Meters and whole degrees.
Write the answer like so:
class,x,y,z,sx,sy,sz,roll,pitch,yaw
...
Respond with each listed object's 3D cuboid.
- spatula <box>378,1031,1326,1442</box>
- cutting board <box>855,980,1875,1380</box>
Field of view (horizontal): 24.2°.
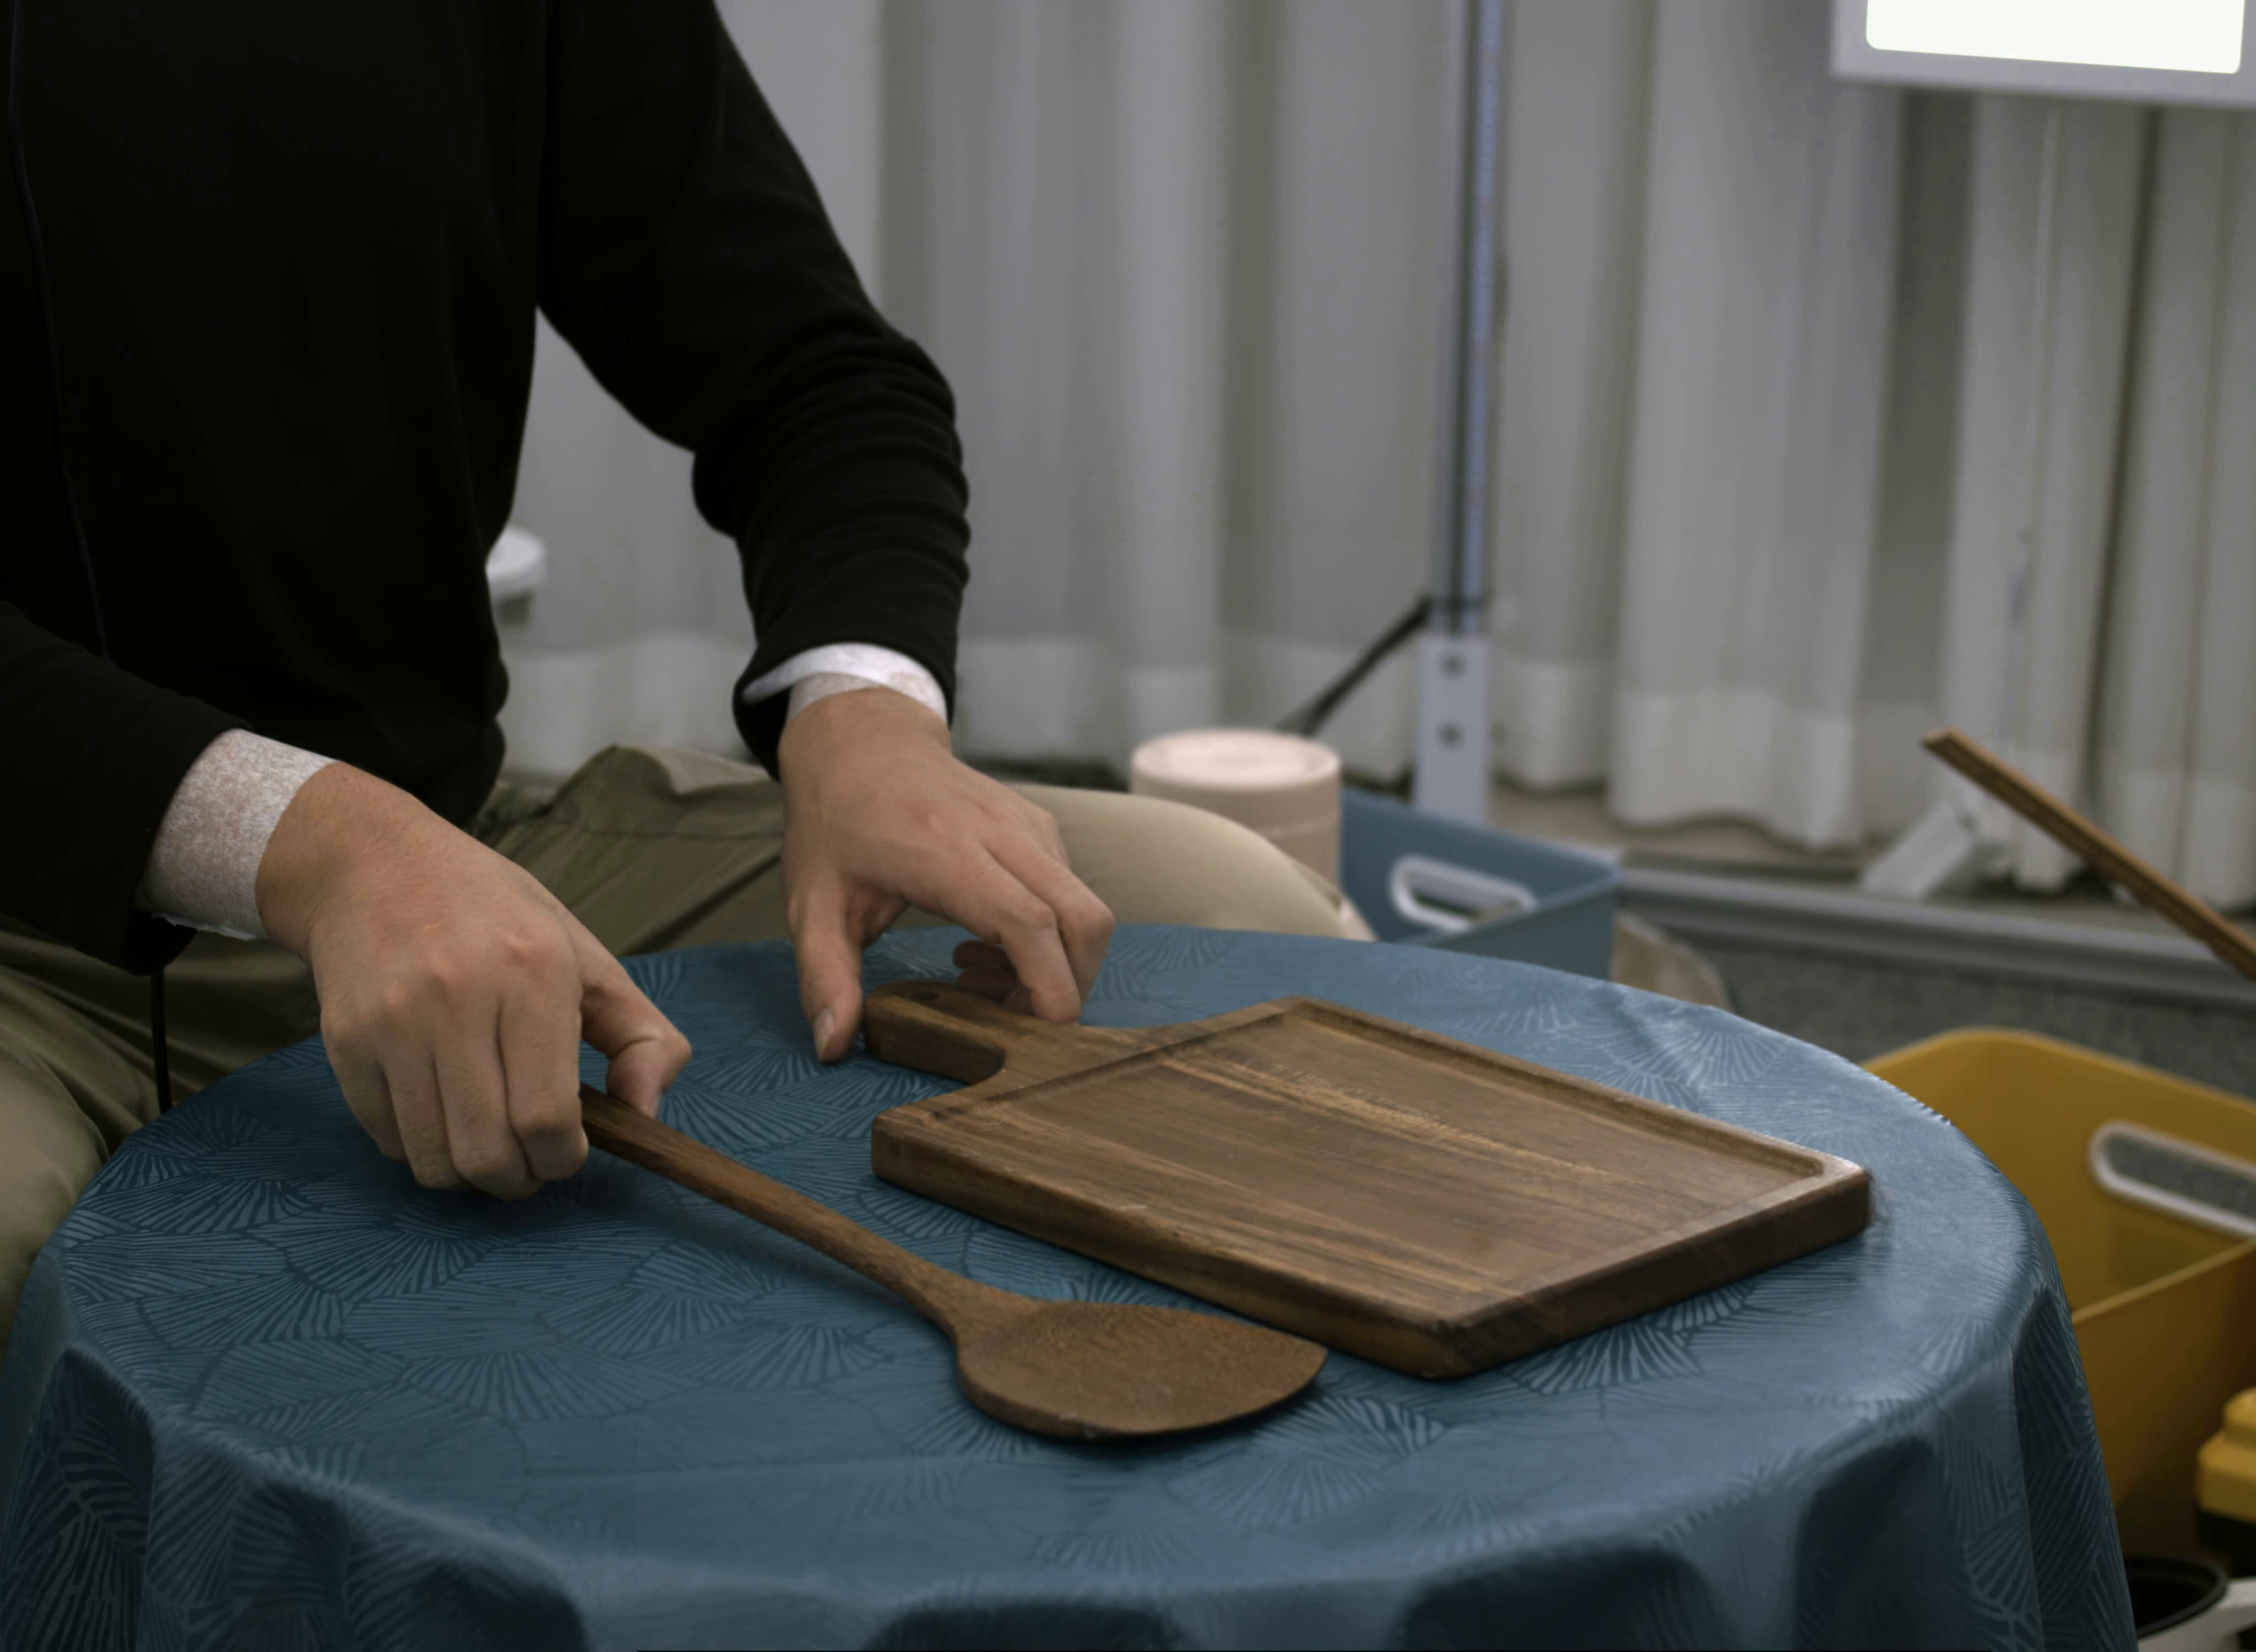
class,x,y,z,sx,sy,sz,roll,pitch,yaw
spatula,-0.102,0.114,1.555,0.096,0.016,0.380,-14,25,-43
cutting board,0.039,0.096,1.644,0.202,0.023,0.347,-14,21,-43
